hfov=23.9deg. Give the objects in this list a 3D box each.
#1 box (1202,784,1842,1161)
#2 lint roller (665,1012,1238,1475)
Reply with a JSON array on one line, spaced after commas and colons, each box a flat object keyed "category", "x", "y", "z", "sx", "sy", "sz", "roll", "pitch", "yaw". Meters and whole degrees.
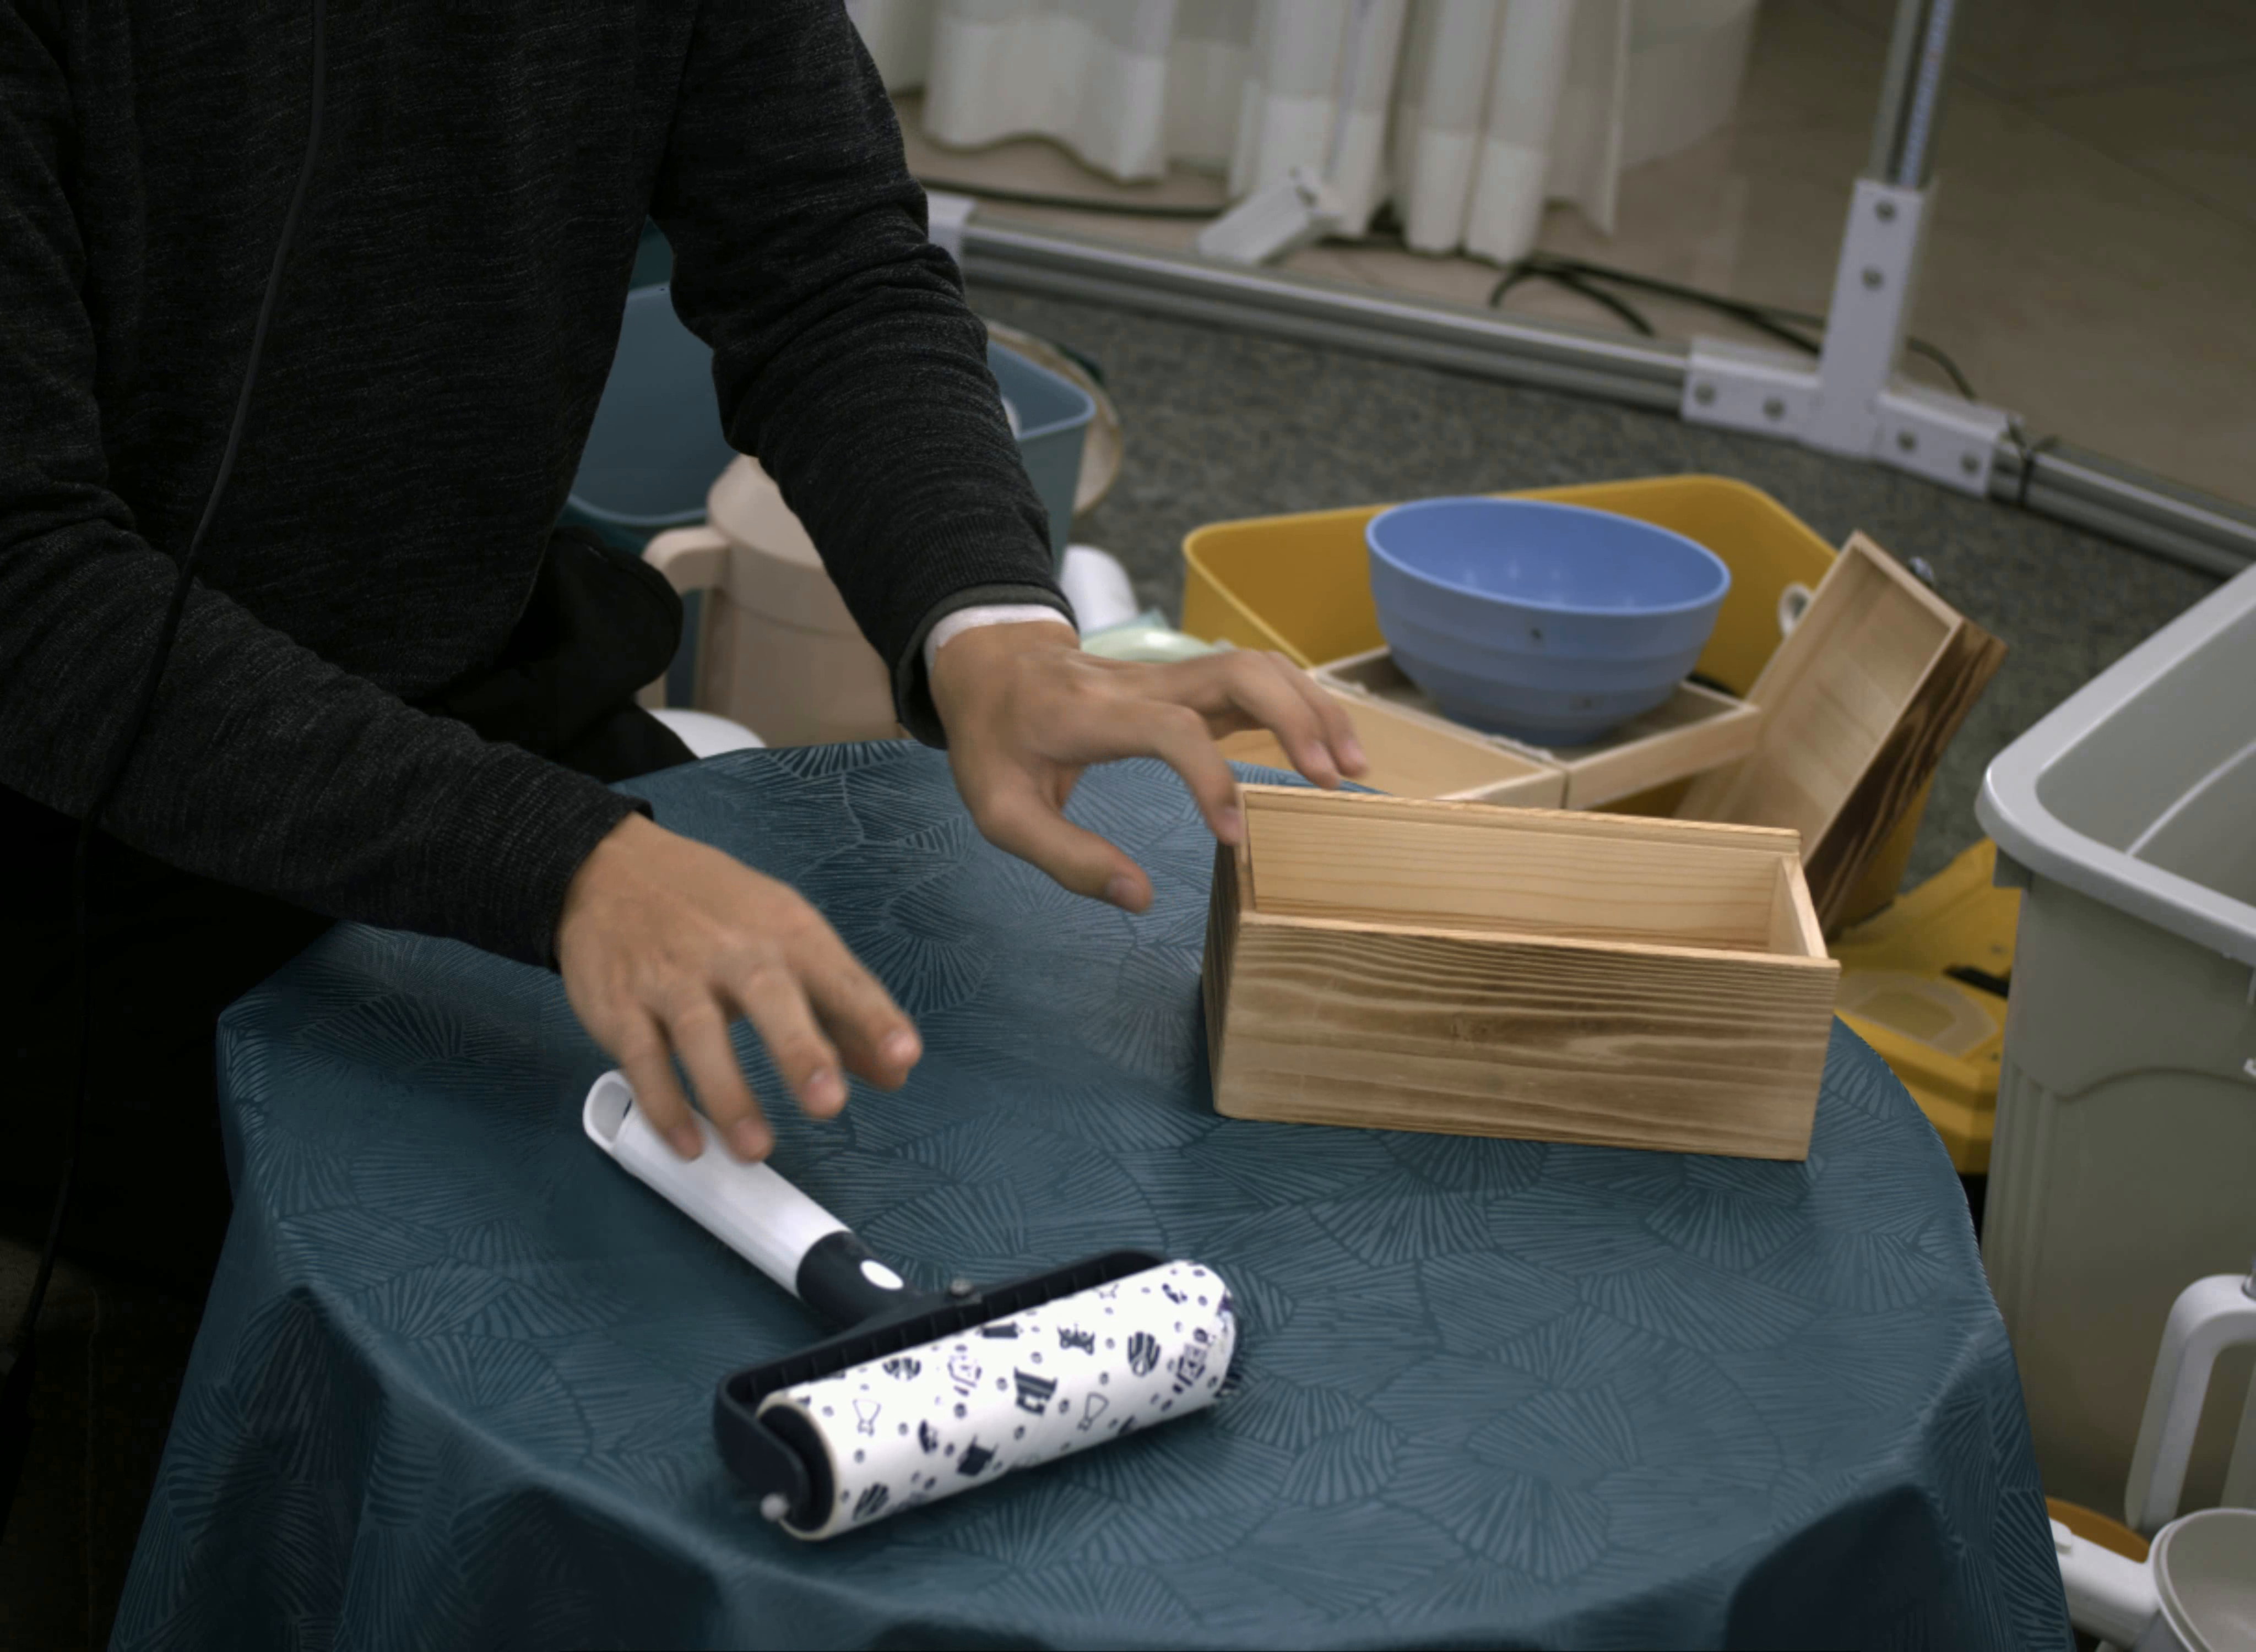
[{"category": "box", "x": 0.136, "y": 0.051, "z": 1.887, "sx": 0.210, "sy": 0.080, "sz": 0.108, "roll": 4, "pitch": 26, "yaw": -4}, {"category": "lint roller", "x": -0.095, "y": 0.121, "z": 1.722, "sx": 0.175, "sy": 0.050, "sz": 0.249, "roll": -6, "pitch": 31, "yaw": -27}]
